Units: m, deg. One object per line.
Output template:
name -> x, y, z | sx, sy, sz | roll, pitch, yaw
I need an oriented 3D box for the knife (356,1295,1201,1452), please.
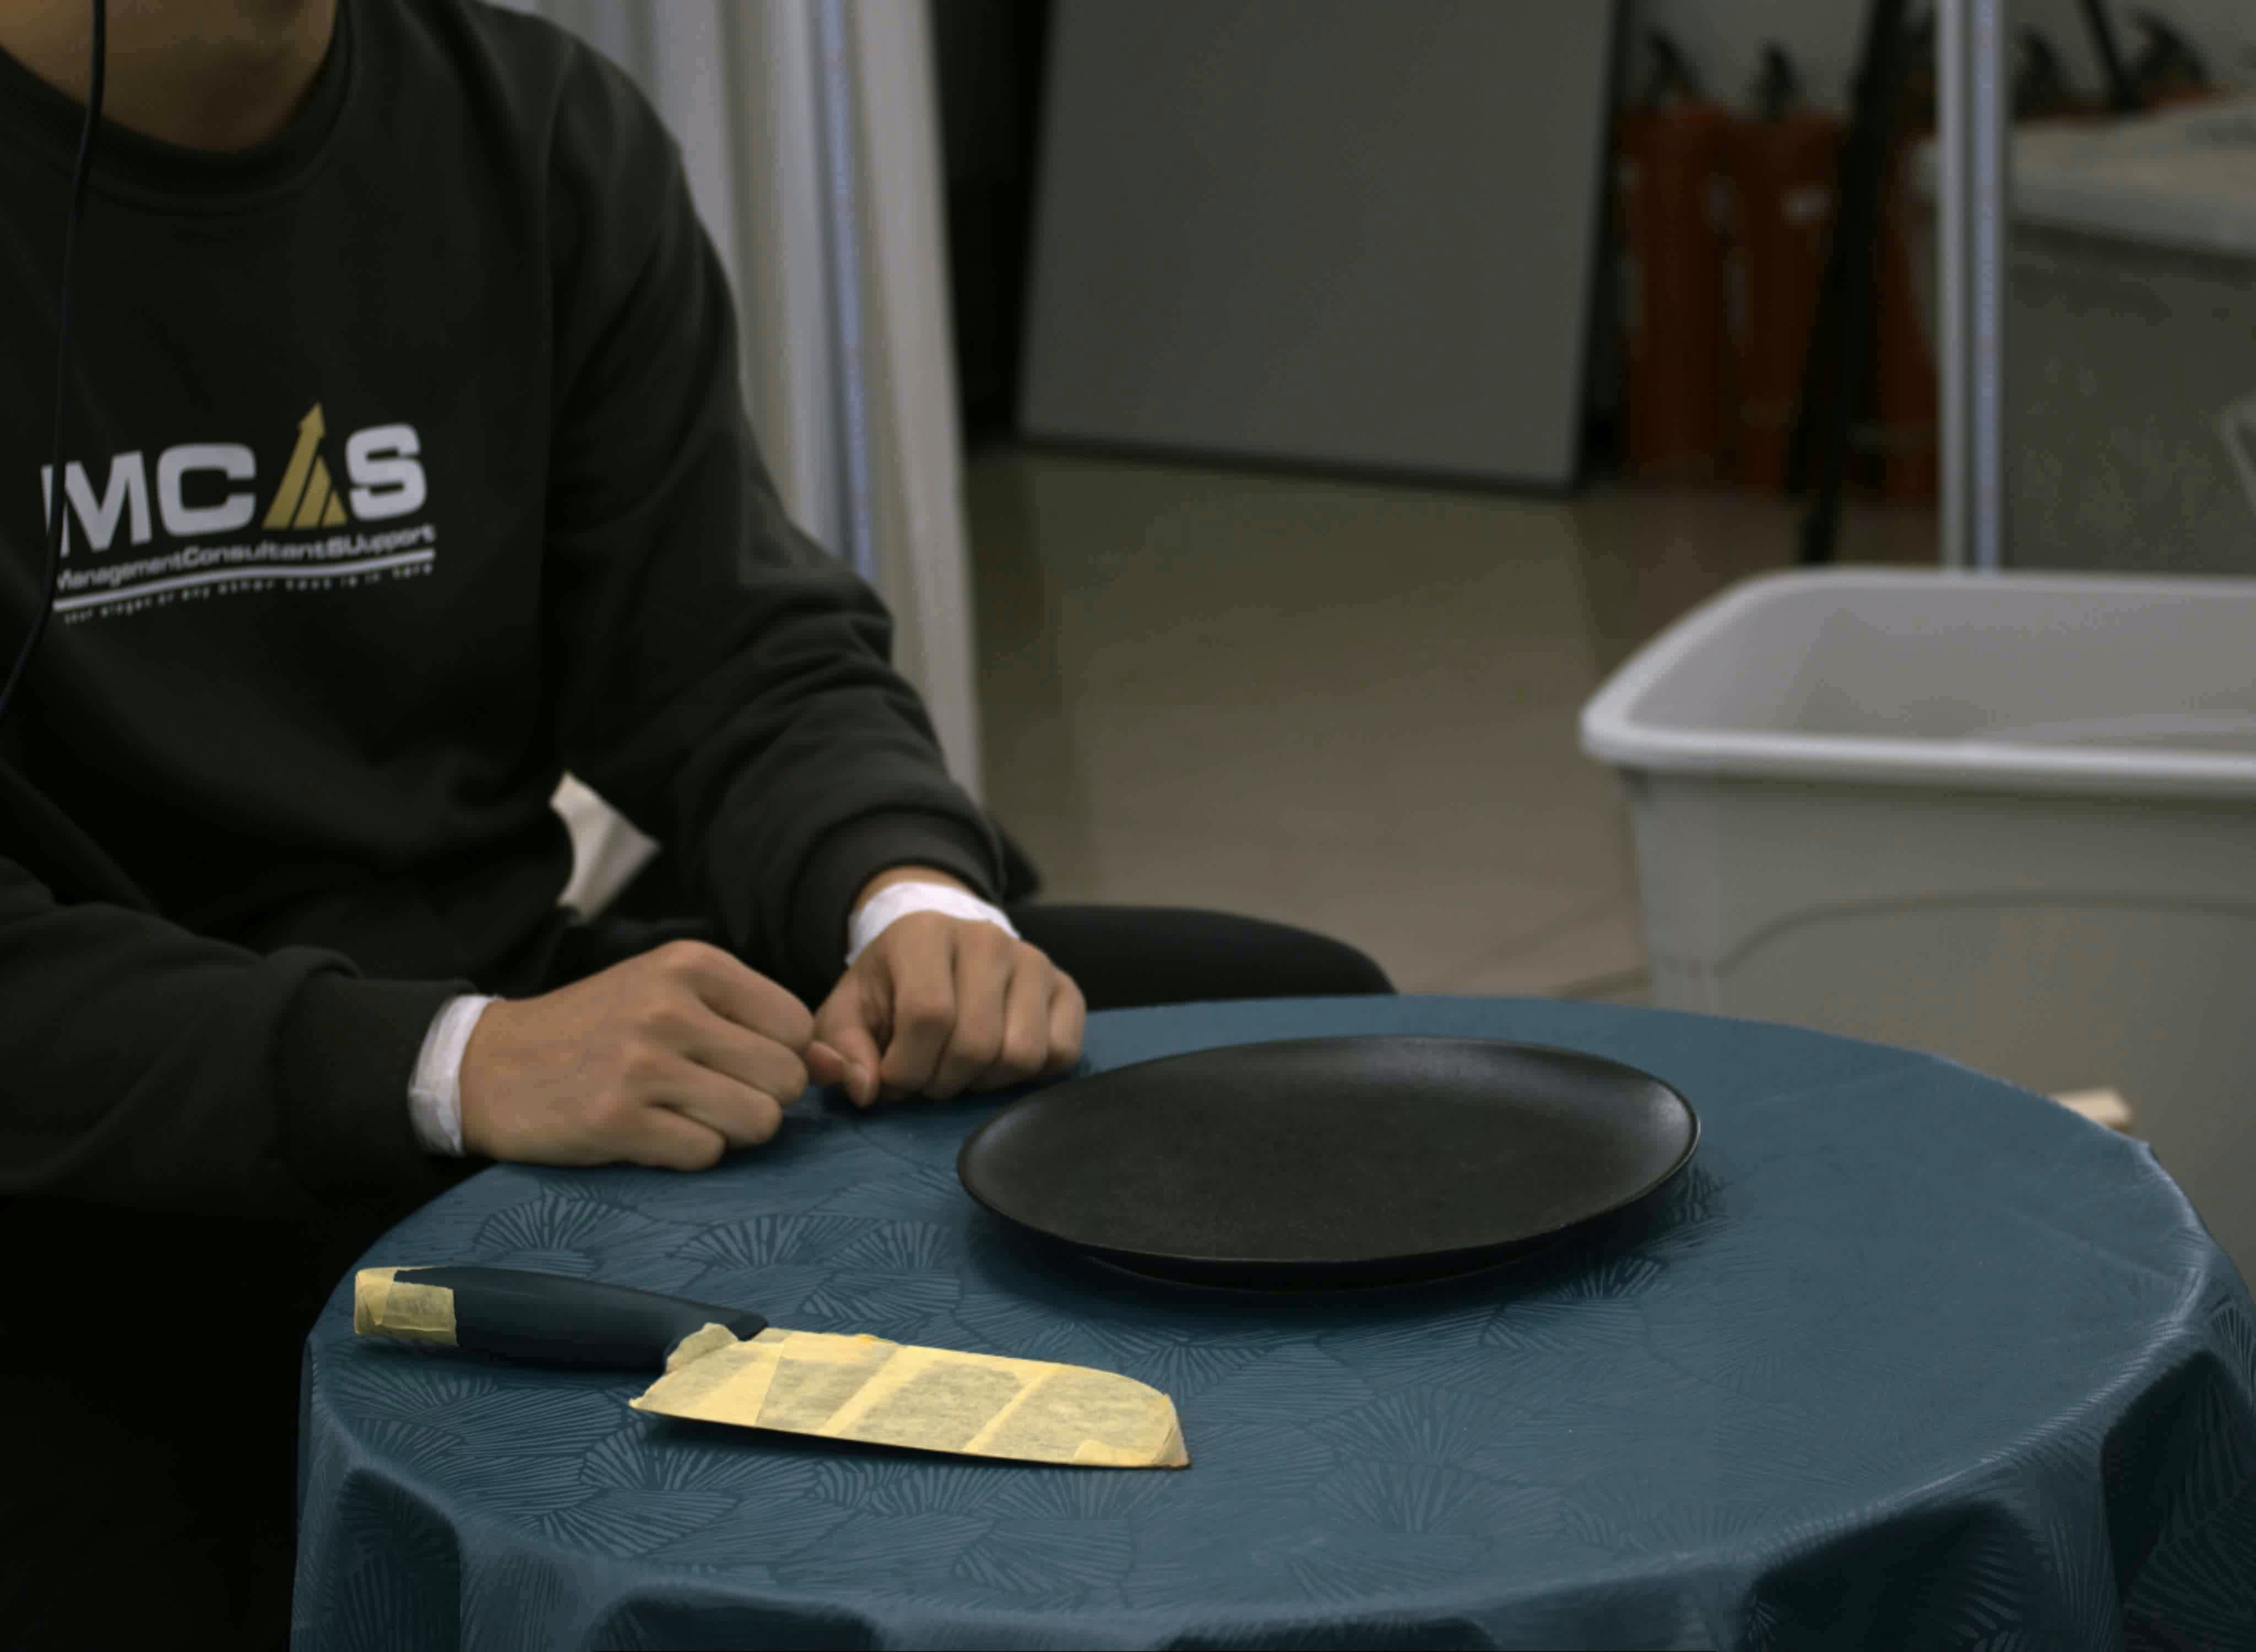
knife -> -0.110, 0.165, 1.598 | 0.290, 0.027, 0.080 | 3, 13, 25

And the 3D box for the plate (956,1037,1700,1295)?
plate -> 0.065, 0.112, 1.743 | 0.241, 0.024, 0.245 | -4, 13, 0
